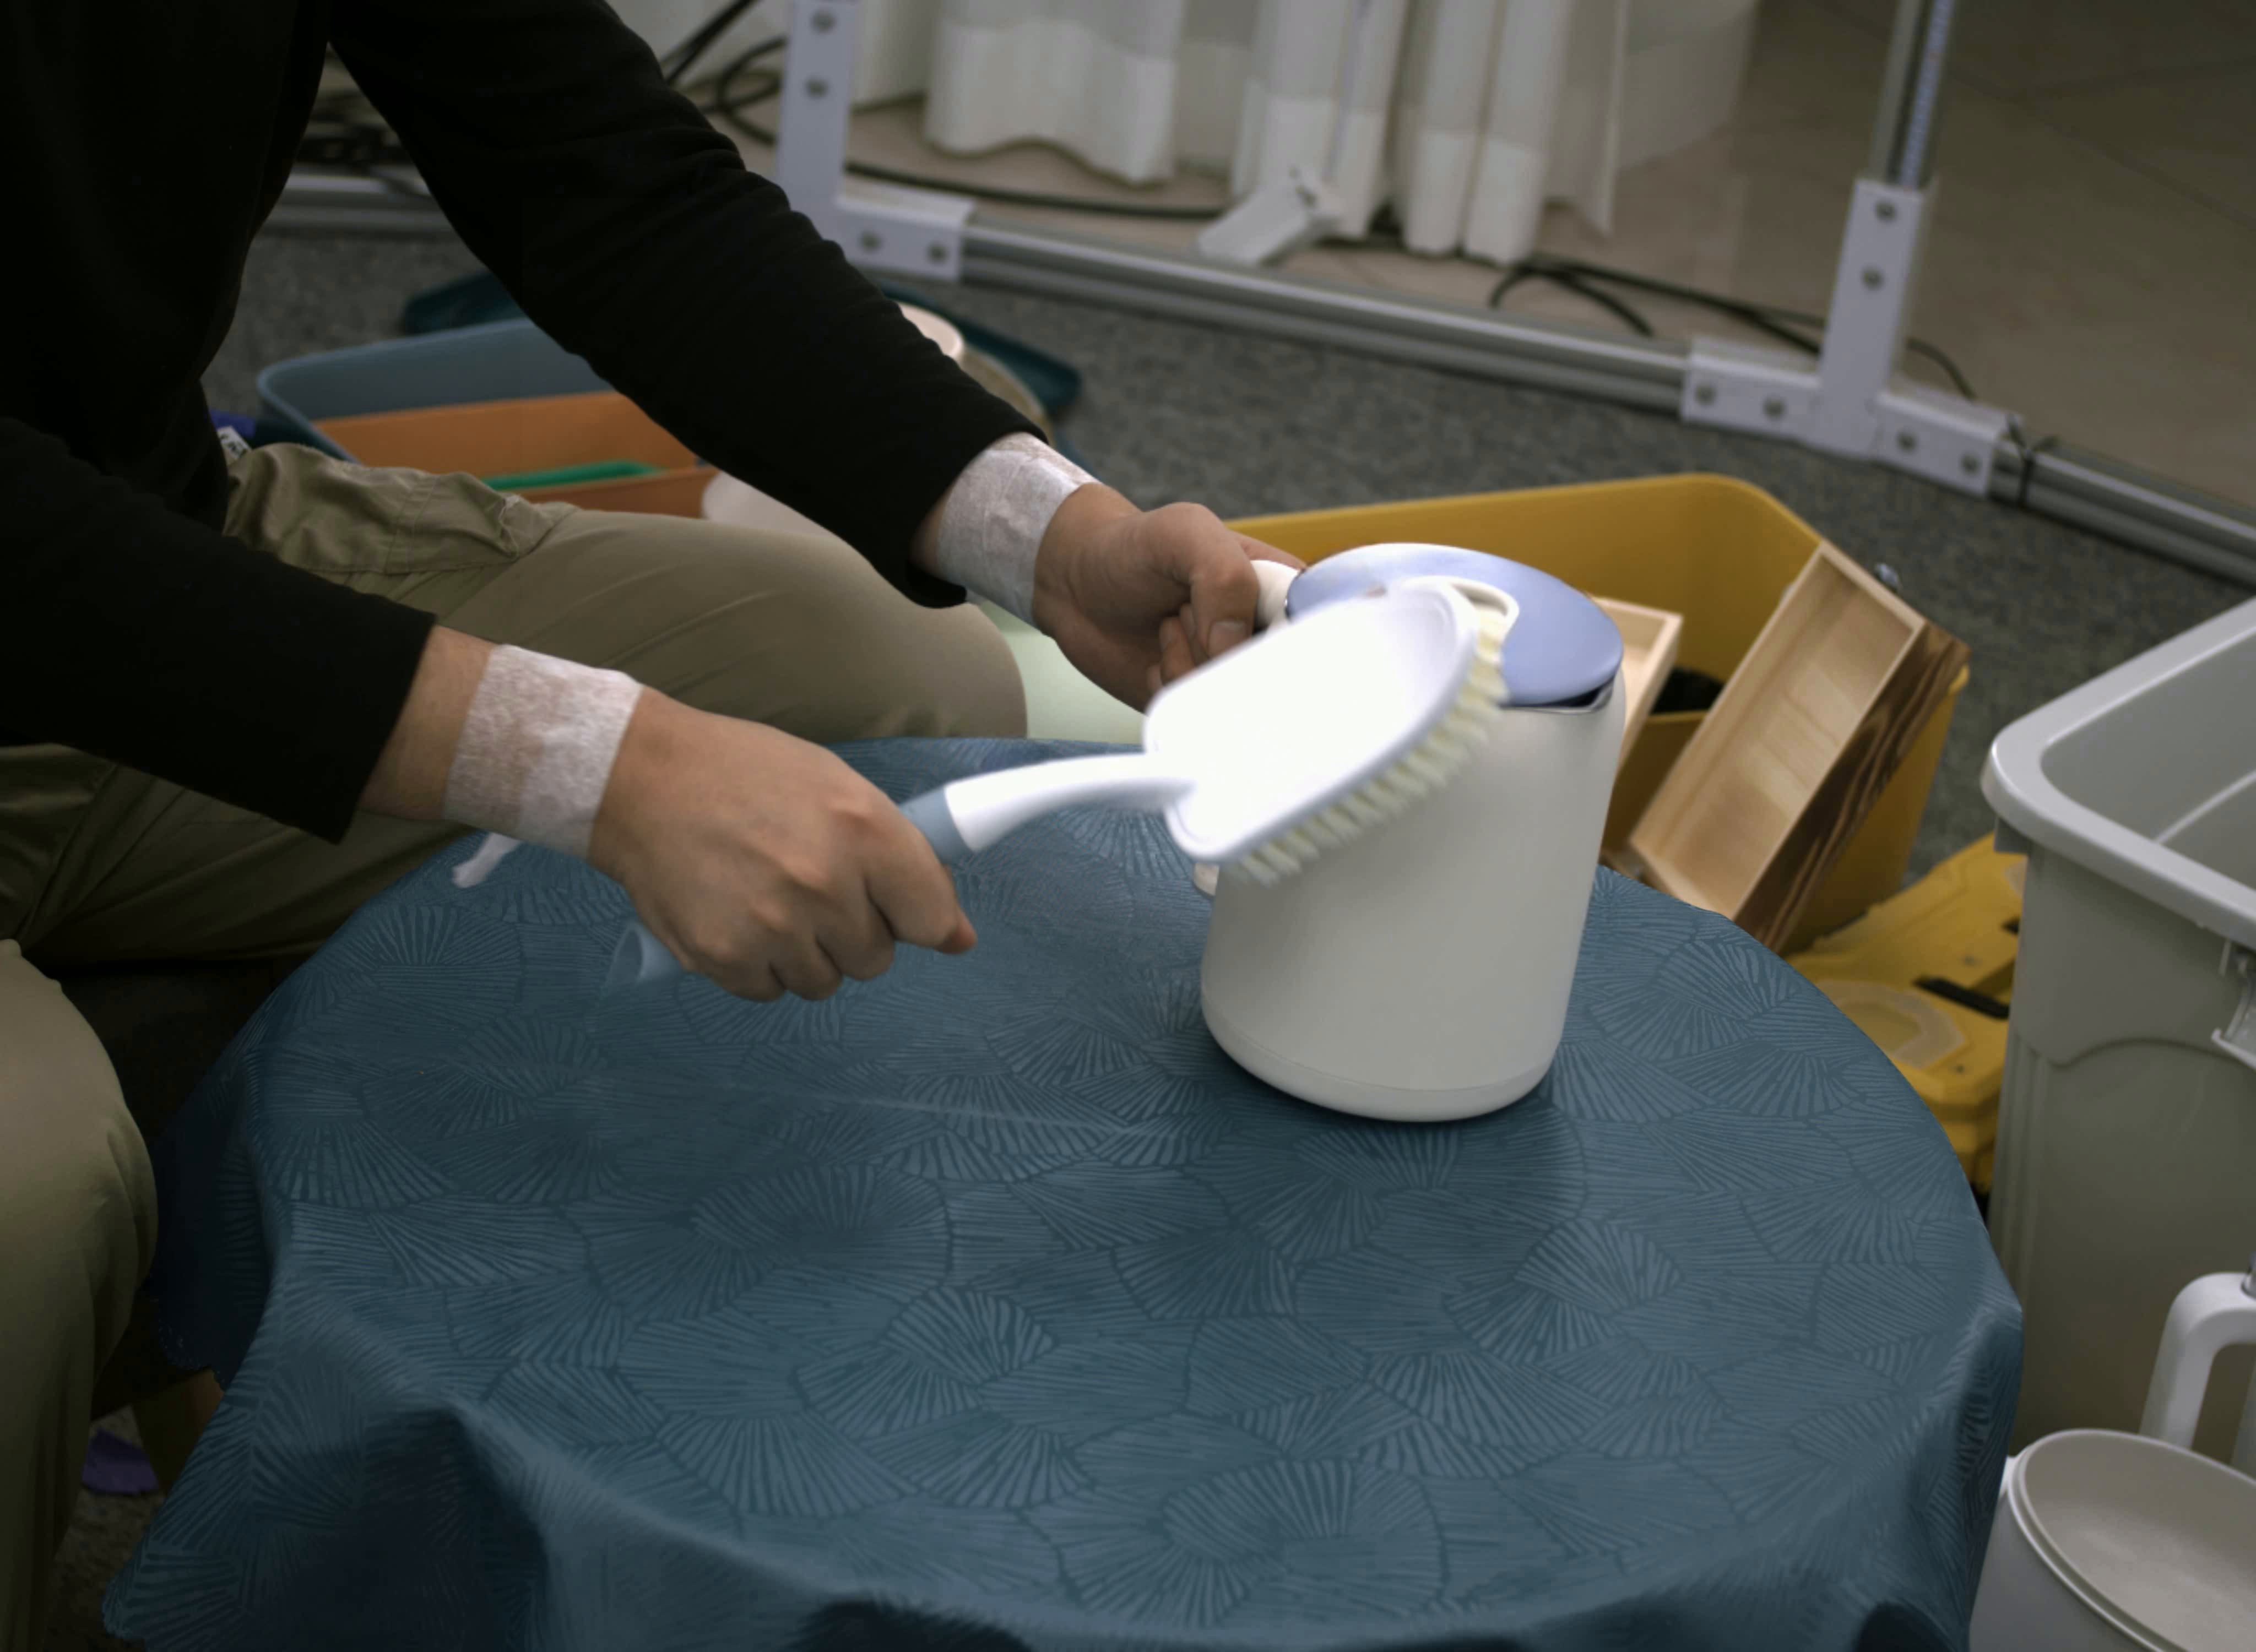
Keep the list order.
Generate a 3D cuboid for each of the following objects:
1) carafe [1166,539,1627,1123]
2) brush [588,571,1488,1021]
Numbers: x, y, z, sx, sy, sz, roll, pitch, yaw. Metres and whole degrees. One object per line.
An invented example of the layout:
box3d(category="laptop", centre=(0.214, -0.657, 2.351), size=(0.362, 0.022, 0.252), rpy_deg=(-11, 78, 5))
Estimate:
box3d(category="carafe", centre=(0.083, -0.009, 1.886), size=(0.192, 0.182, 0.131), rpy_deg=(28, 31, 36))
box3d(category="brush", centre=(-0.028, 0.000, 1.789), size=(0.325, 0.084, 0.083), rpy_deg=(-25, 22, 10))
